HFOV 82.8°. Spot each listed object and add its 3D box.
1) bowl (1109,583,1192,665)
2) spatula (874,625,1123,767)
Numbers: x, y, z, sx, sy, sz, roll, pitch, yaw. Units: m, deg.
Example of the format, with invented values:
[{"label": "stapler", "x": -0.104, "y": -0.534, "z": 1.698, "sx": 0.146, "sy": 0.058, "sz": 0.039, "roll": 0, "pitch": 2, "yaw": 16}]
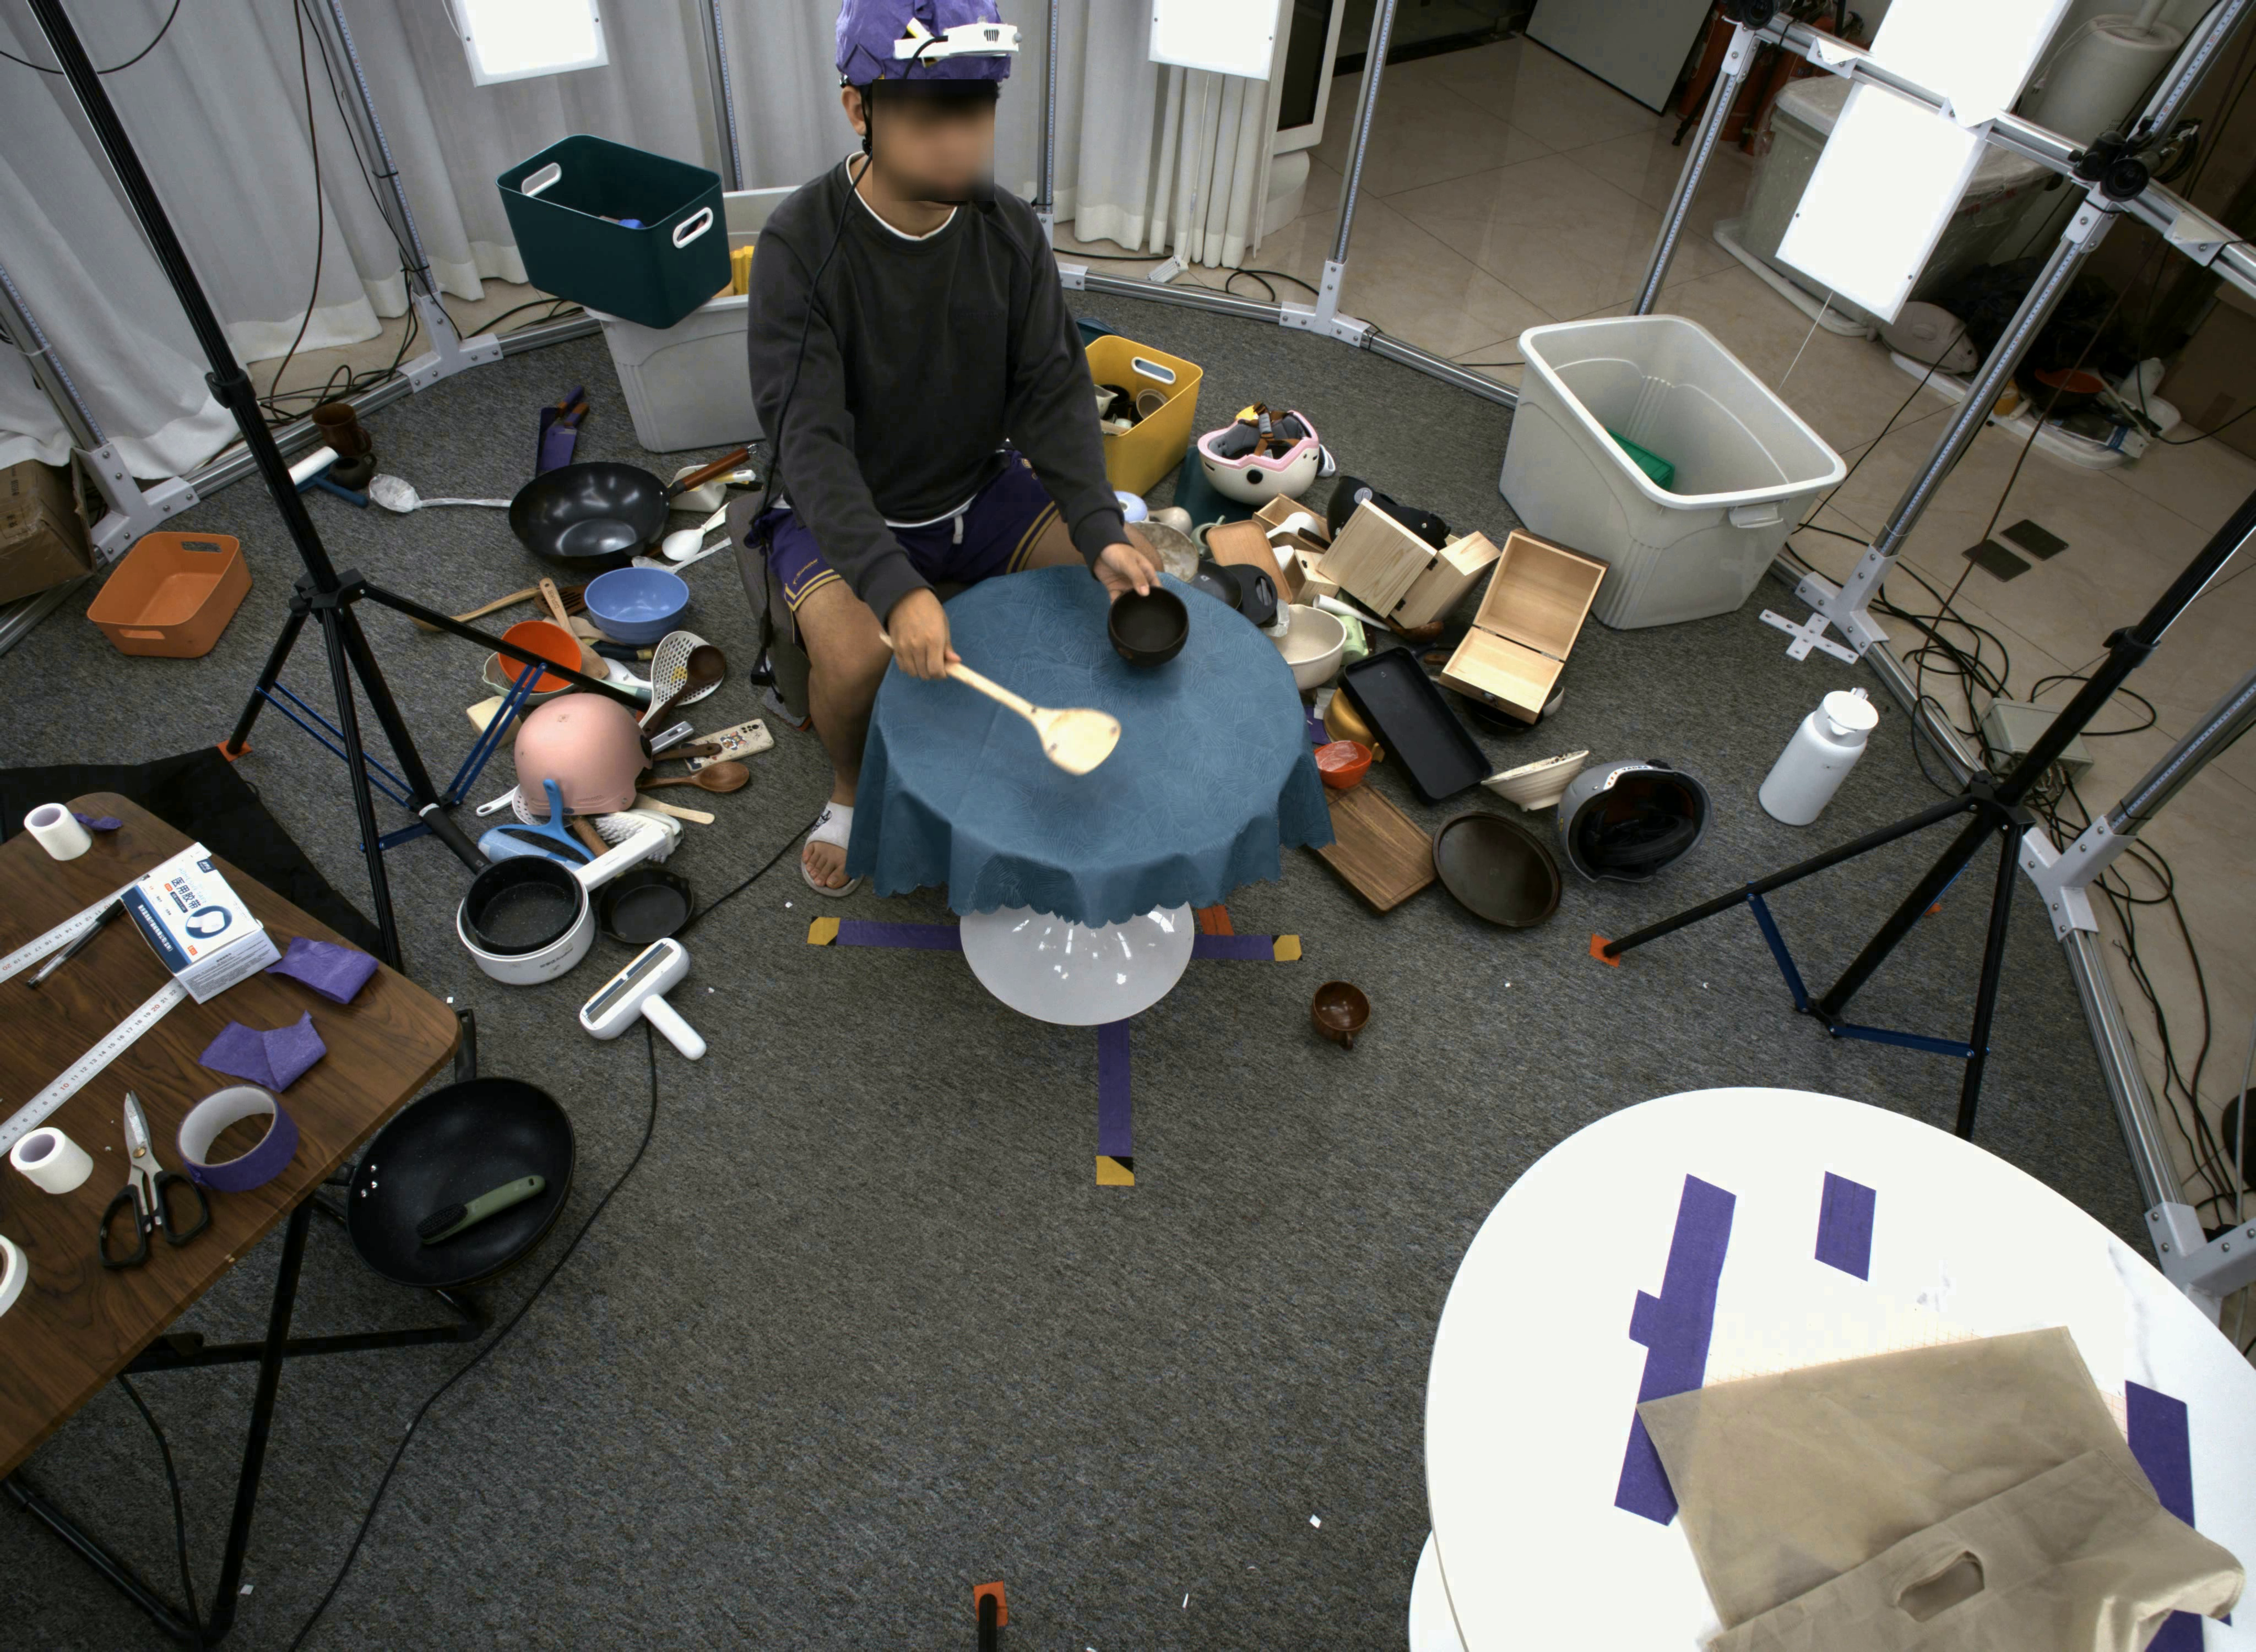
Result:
[{"label": "bowl", "x": 0.032, "y": -0.284, "z": 1.856, "sx": 0.118, "sy": 0.068, "sz": 0.120, "roll": 0, "pitch": 63, "yaw": -1}, {"label": "spatula", "x": -0.183, "y": -0.181, "z": 1.689, "sx": 0.394, "sy": 0.018, "sz": 0.097, "roll": 28, "pitch": 60, "yaw": 20}]
